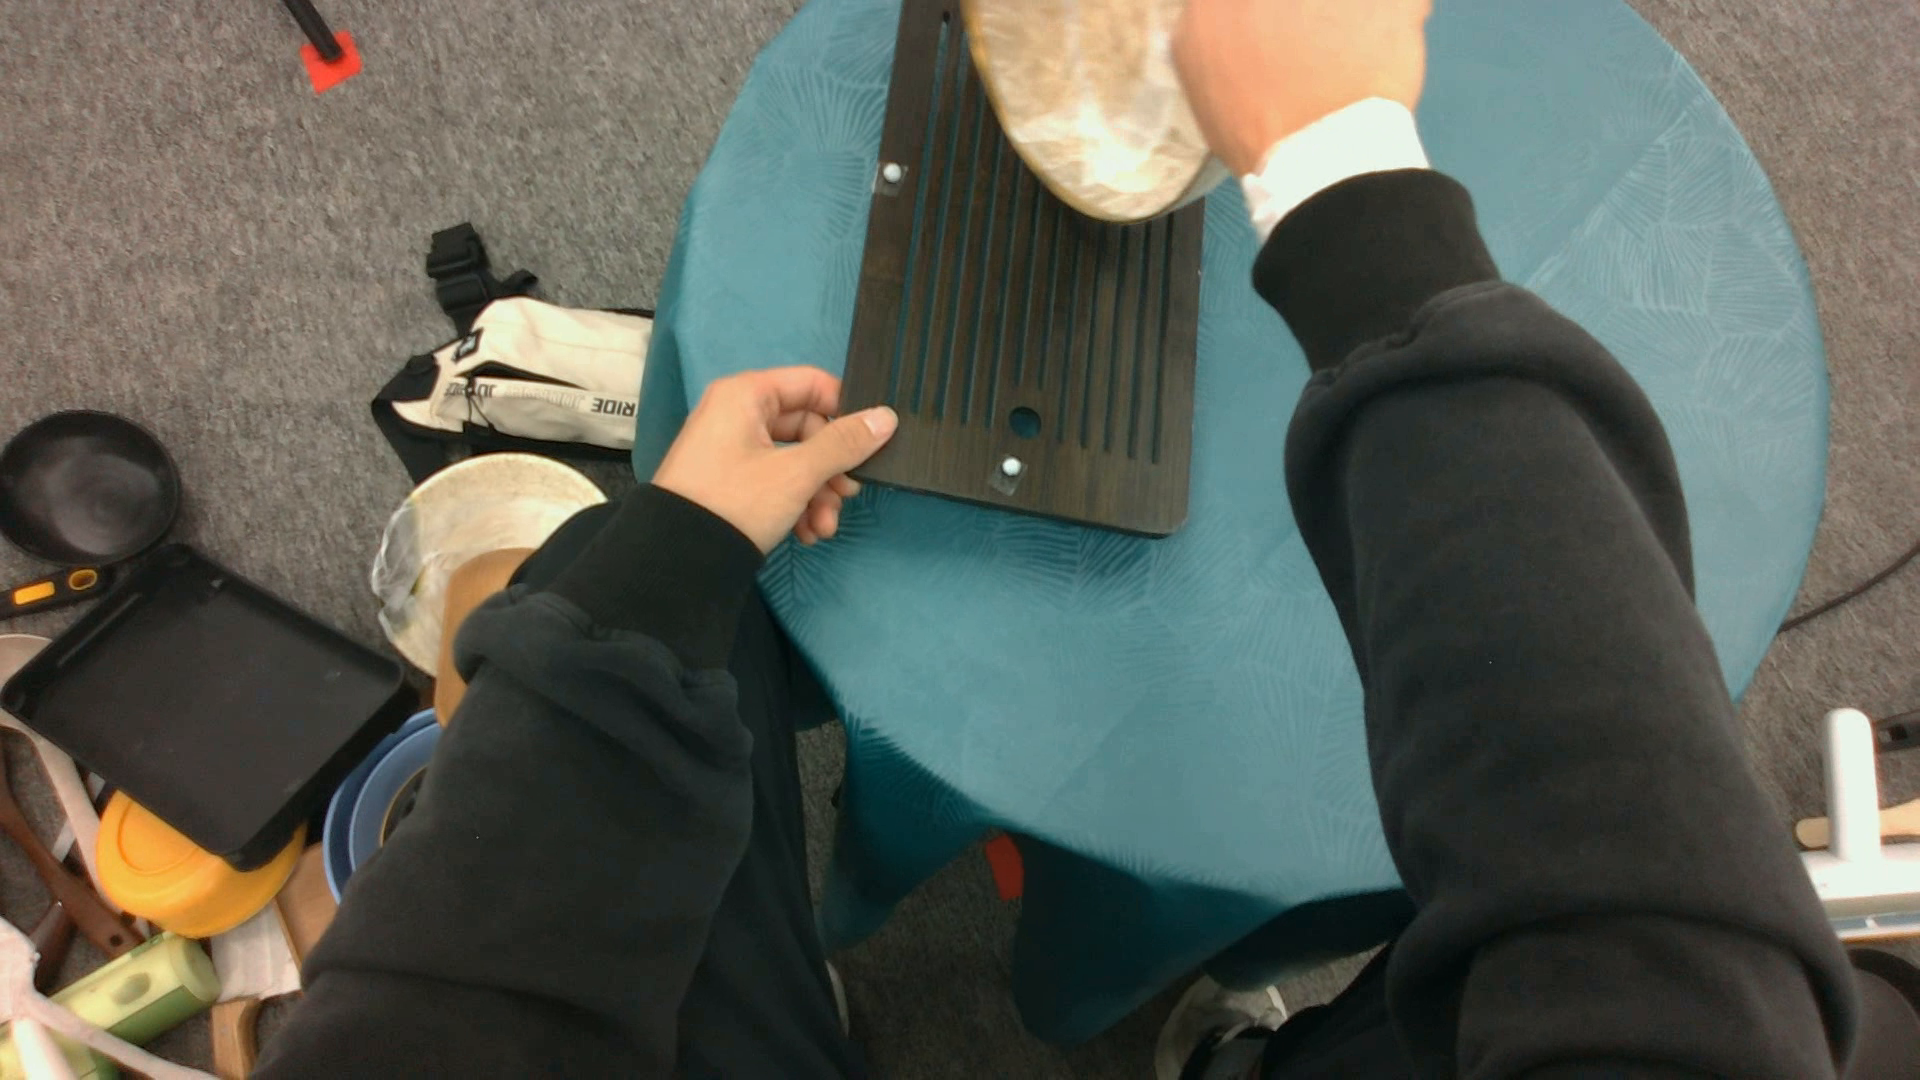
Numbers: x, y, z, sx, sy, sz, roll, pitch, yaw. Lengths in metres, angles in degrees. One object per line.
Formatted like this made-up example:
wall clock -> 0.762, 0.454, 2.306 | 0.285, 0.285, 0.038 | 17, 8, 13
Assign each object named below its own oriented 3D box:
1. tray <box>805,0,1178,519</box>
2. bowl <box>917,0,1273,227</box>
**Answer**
tray -> 0.025, -0.162, 0.684 | 0.170, 0.018, 0.307 | 11, 68, -11
bowl -> 0.070, -0.255, 0.620 | 0.095, 0.213, 0.215 | -27, 75, -26
